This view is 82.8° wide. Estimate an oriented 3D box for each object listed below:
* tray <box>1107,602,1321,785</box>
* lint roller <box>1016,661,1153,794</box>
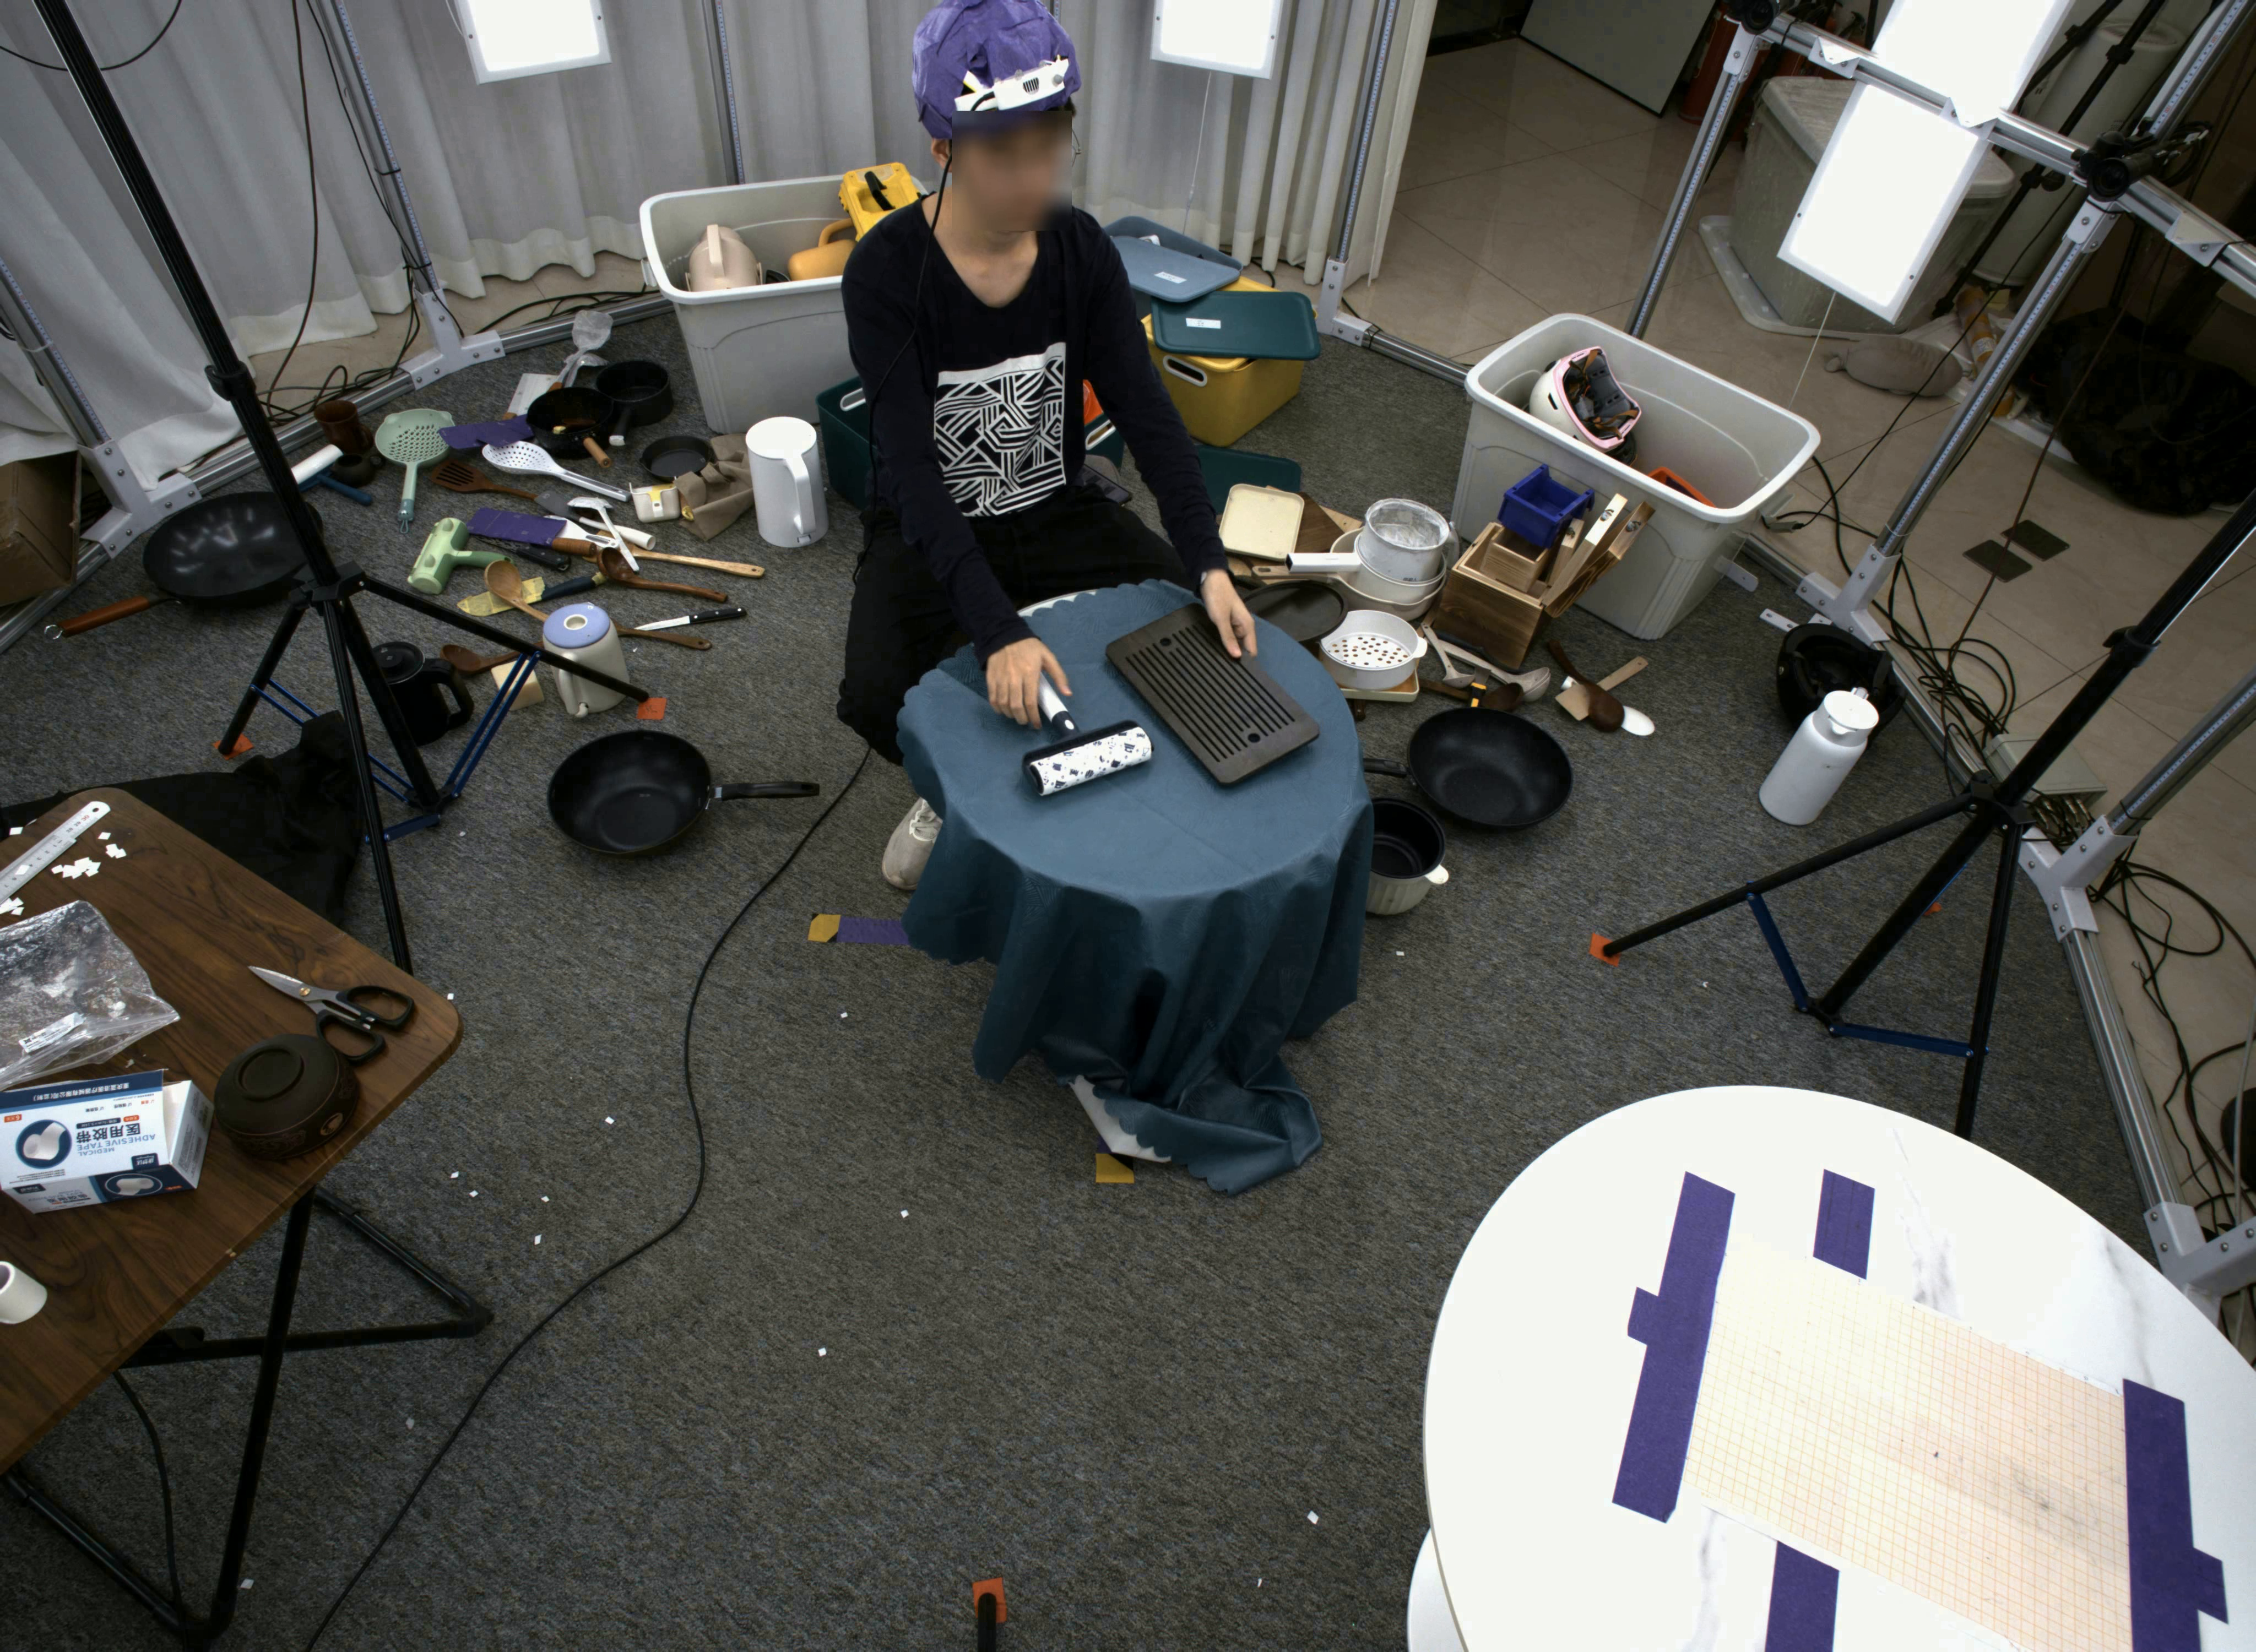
[{"bbox_3d":[0.117,-0.192,1.814,0.171,0.018,0.312,-28,57,-16],"label":"tray"},{"bbox_3d":[-0.098,-0.155,1.770,0.177,0.049,0.252,-21,51,-19],"label":"lint roller"}]
